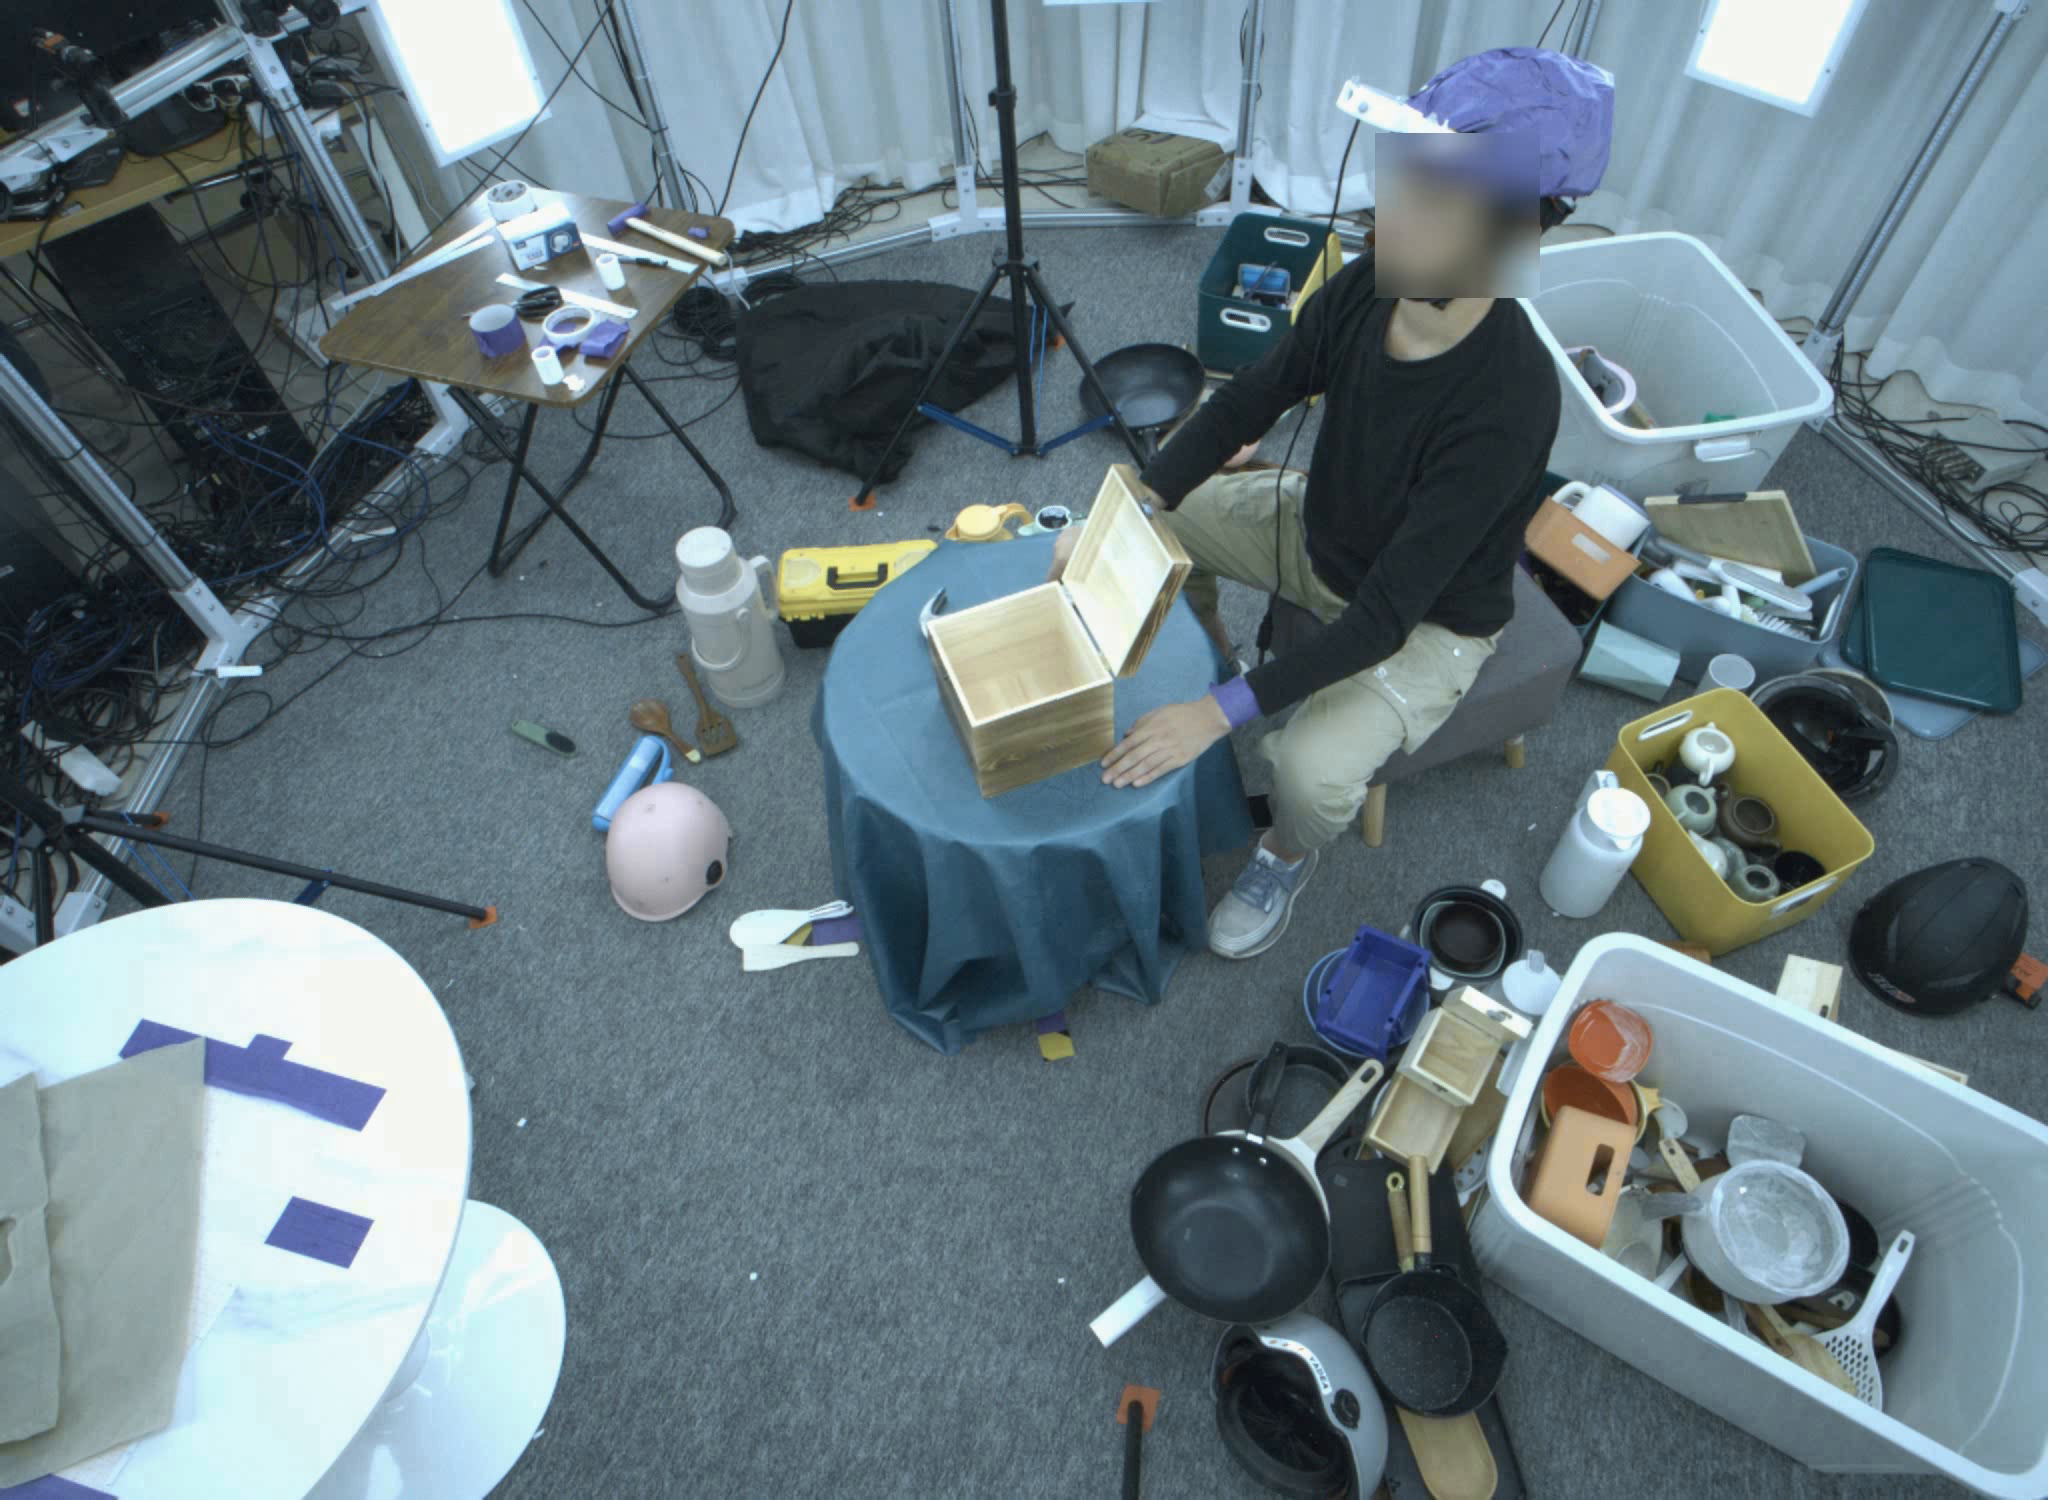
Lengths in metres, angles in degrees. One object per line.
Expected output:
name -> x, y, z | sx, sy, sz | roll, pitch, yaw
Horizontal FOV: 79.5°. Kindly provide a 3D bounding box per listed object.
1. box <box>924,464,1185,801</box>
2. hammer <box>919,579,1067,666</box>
box -> 0.038, -0.159, 1.675 | 0.324, 0.379, 0.205 | -18, 55, -11
hammer -> 0.000, -0.233, 1.927 | 0.340, 0.032, 0.129 | -17, 56, -9
